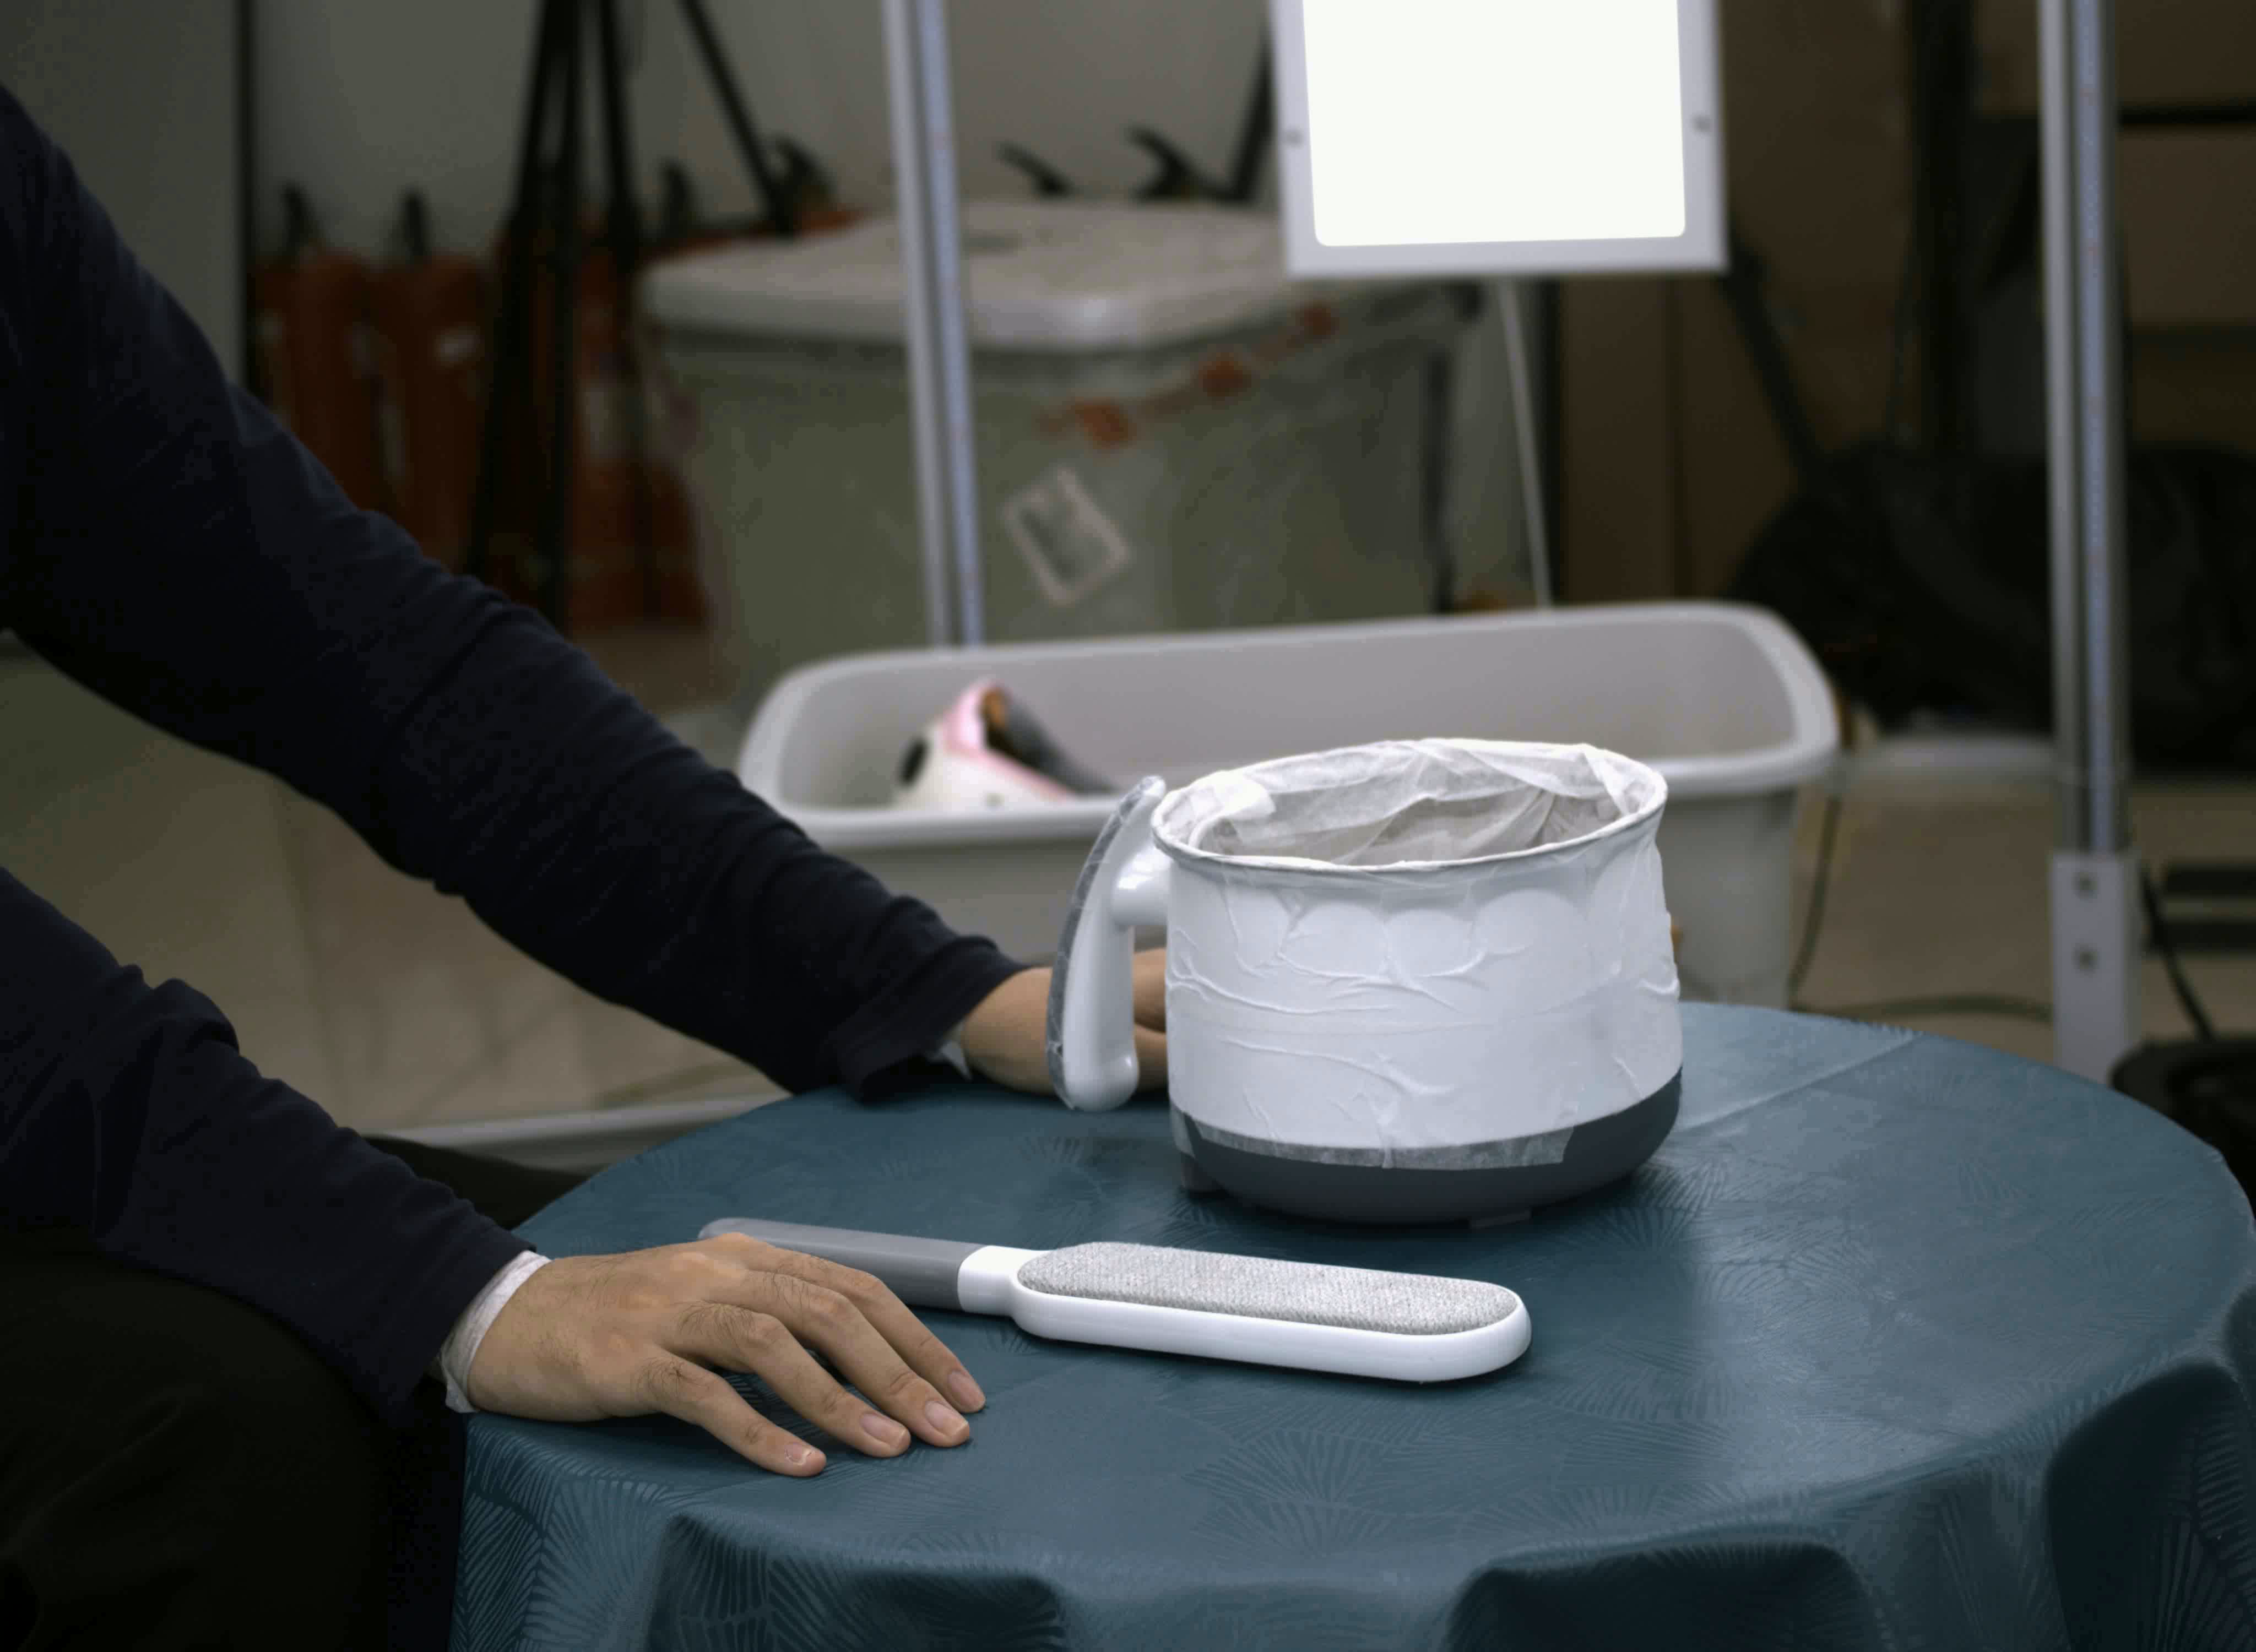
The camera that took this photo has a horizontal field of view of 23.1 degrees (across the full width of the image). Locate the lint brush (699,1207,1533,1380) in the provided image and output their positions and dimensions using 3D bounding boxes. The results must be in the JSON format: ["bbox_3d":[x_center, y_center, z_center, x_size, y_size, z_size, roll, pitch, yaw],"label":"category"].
[{"bbox_3d":[-0.010,0.146,1.770,0.315,0.021,0.058,4,22,33],"label":"lint brush"}]

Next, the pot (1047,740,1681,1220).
[{"bbox_3d":[0.076,0.049,1.893,0.238,0.137,0.175,3,13,29],"label":"pot"}]
